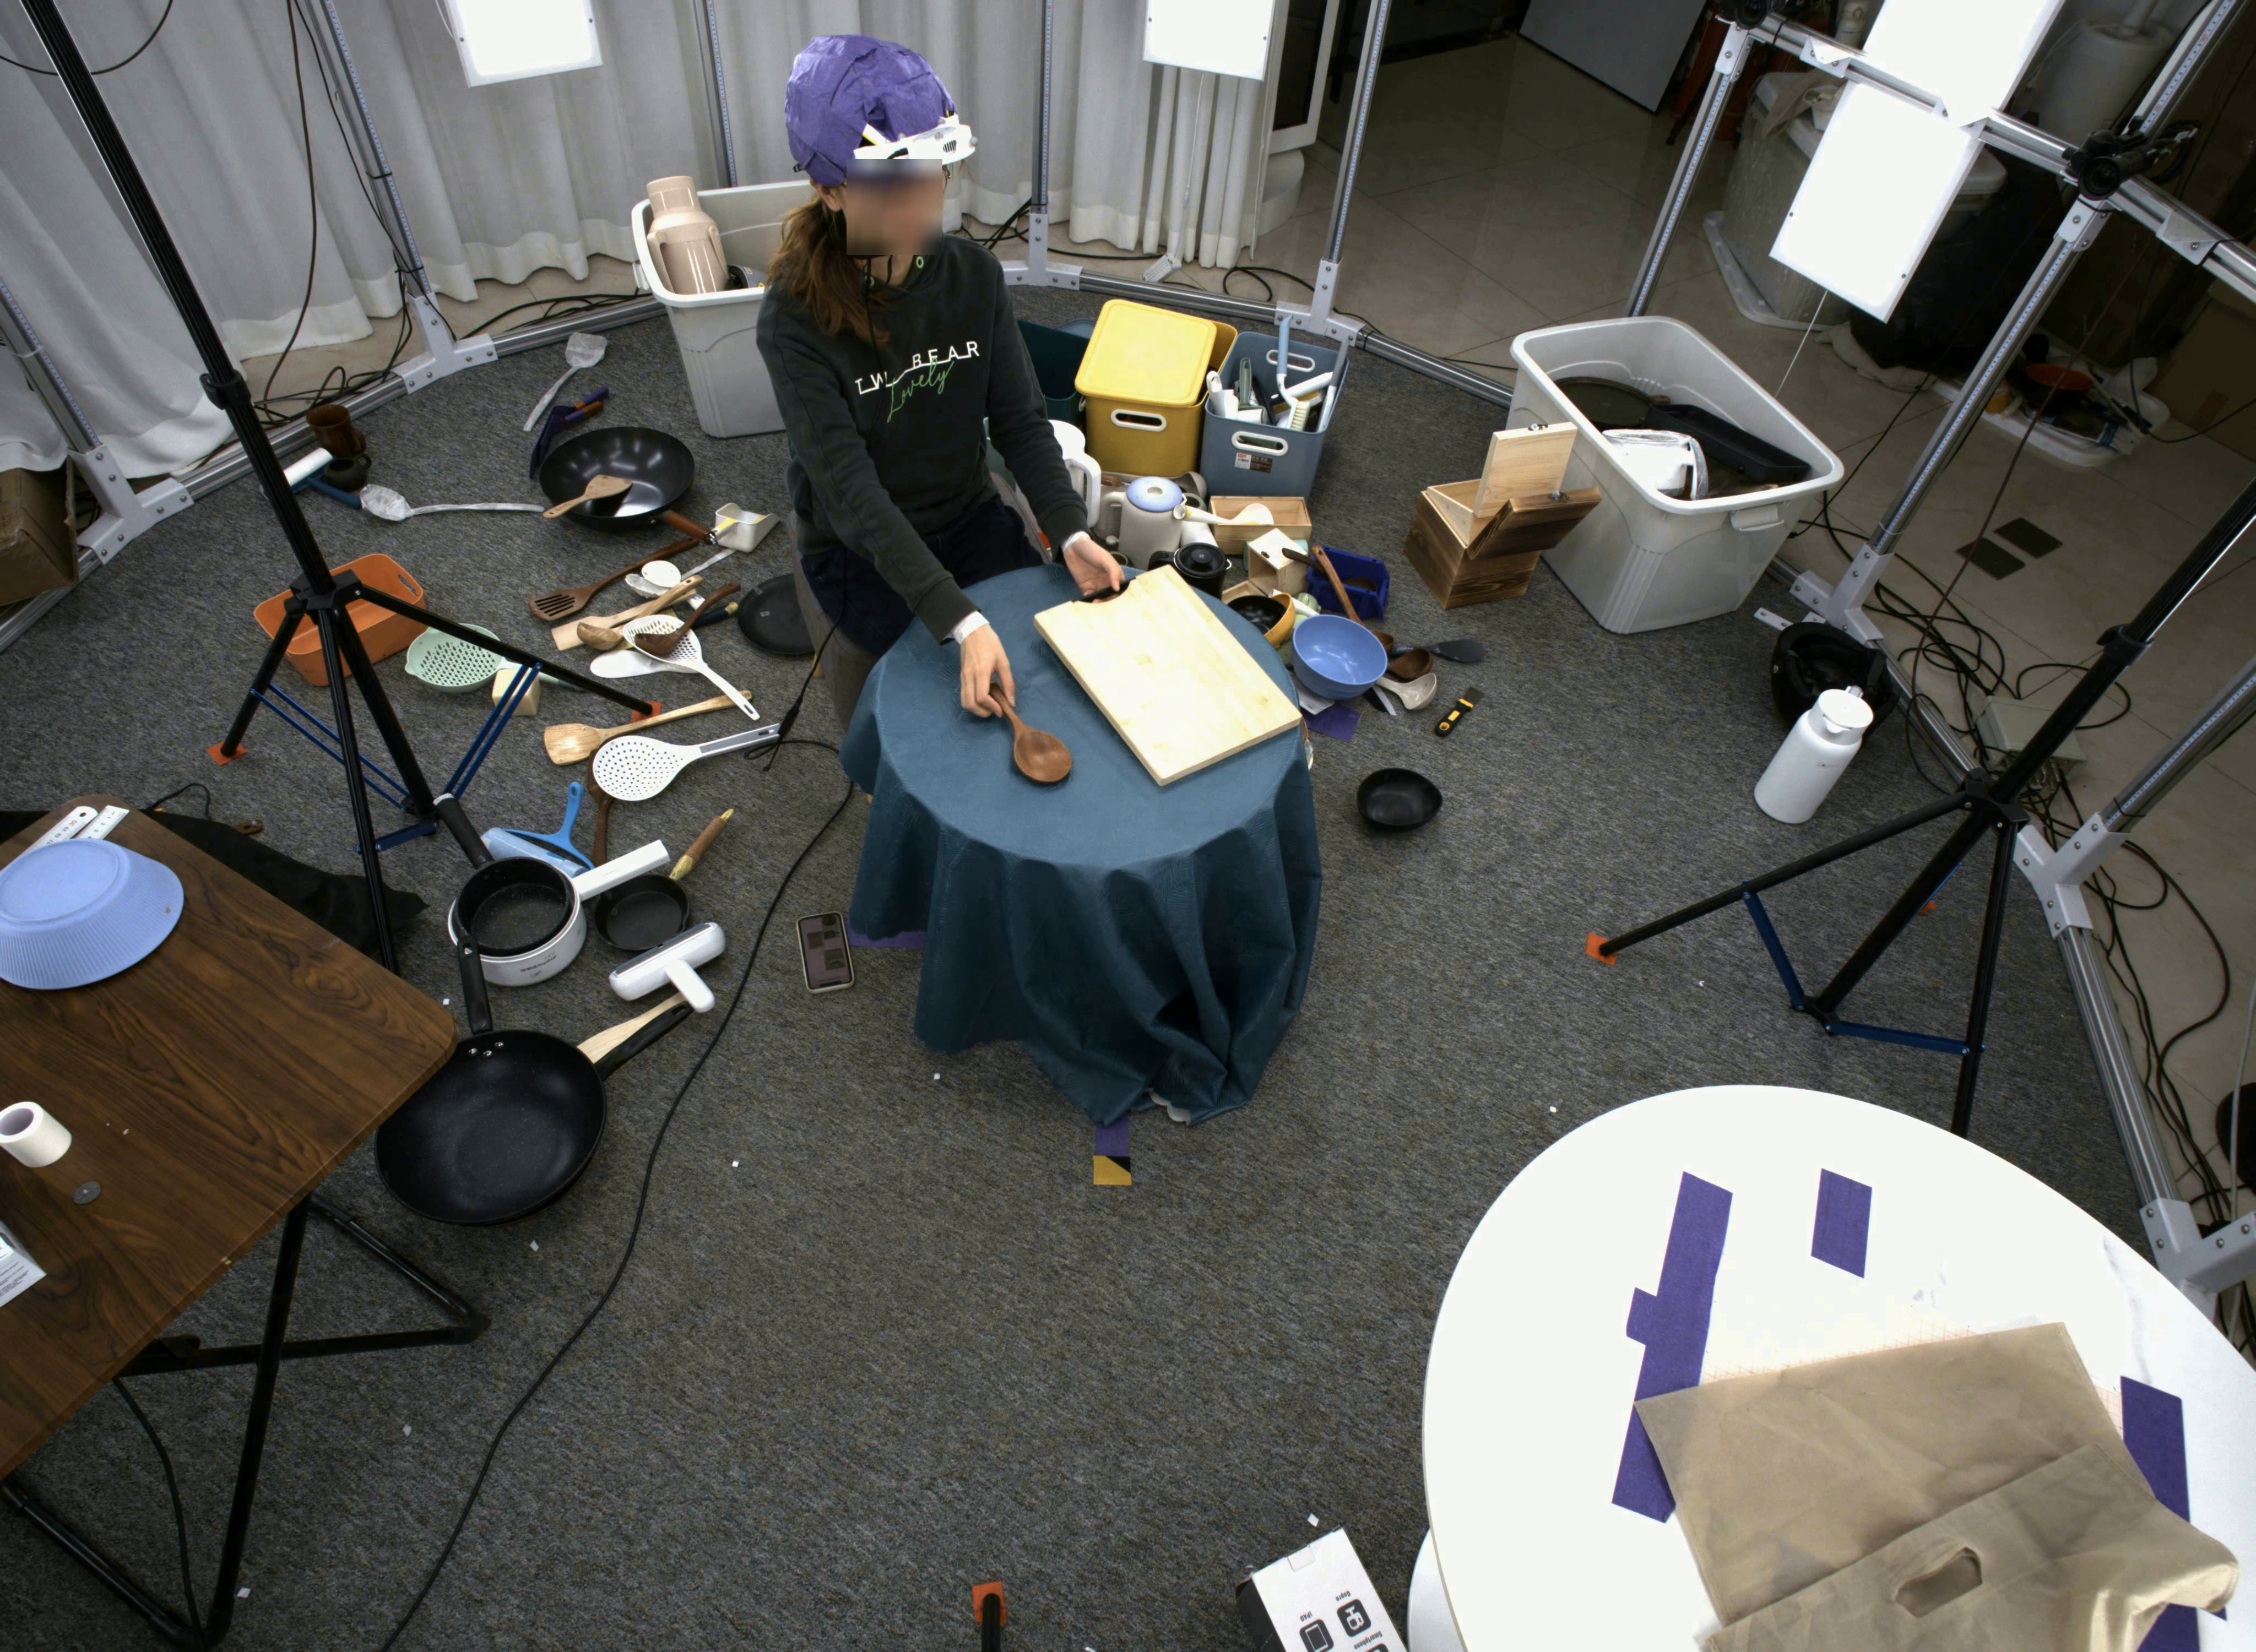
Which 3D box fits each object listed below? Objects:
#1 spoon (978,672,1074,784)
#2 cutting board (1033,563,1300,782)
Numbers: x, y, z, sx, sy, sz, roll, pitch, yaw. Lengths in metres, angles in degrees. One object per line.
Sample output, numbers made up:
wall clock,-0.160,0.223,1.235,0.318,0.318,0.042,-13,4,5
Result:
spoon,-0.147,-0.136,1.772,0.076,0.017,0.220,-25,61,-21
cutting board,0.052,-0.230,1.858,0.252,0.023,0.355,-25,60,-24
